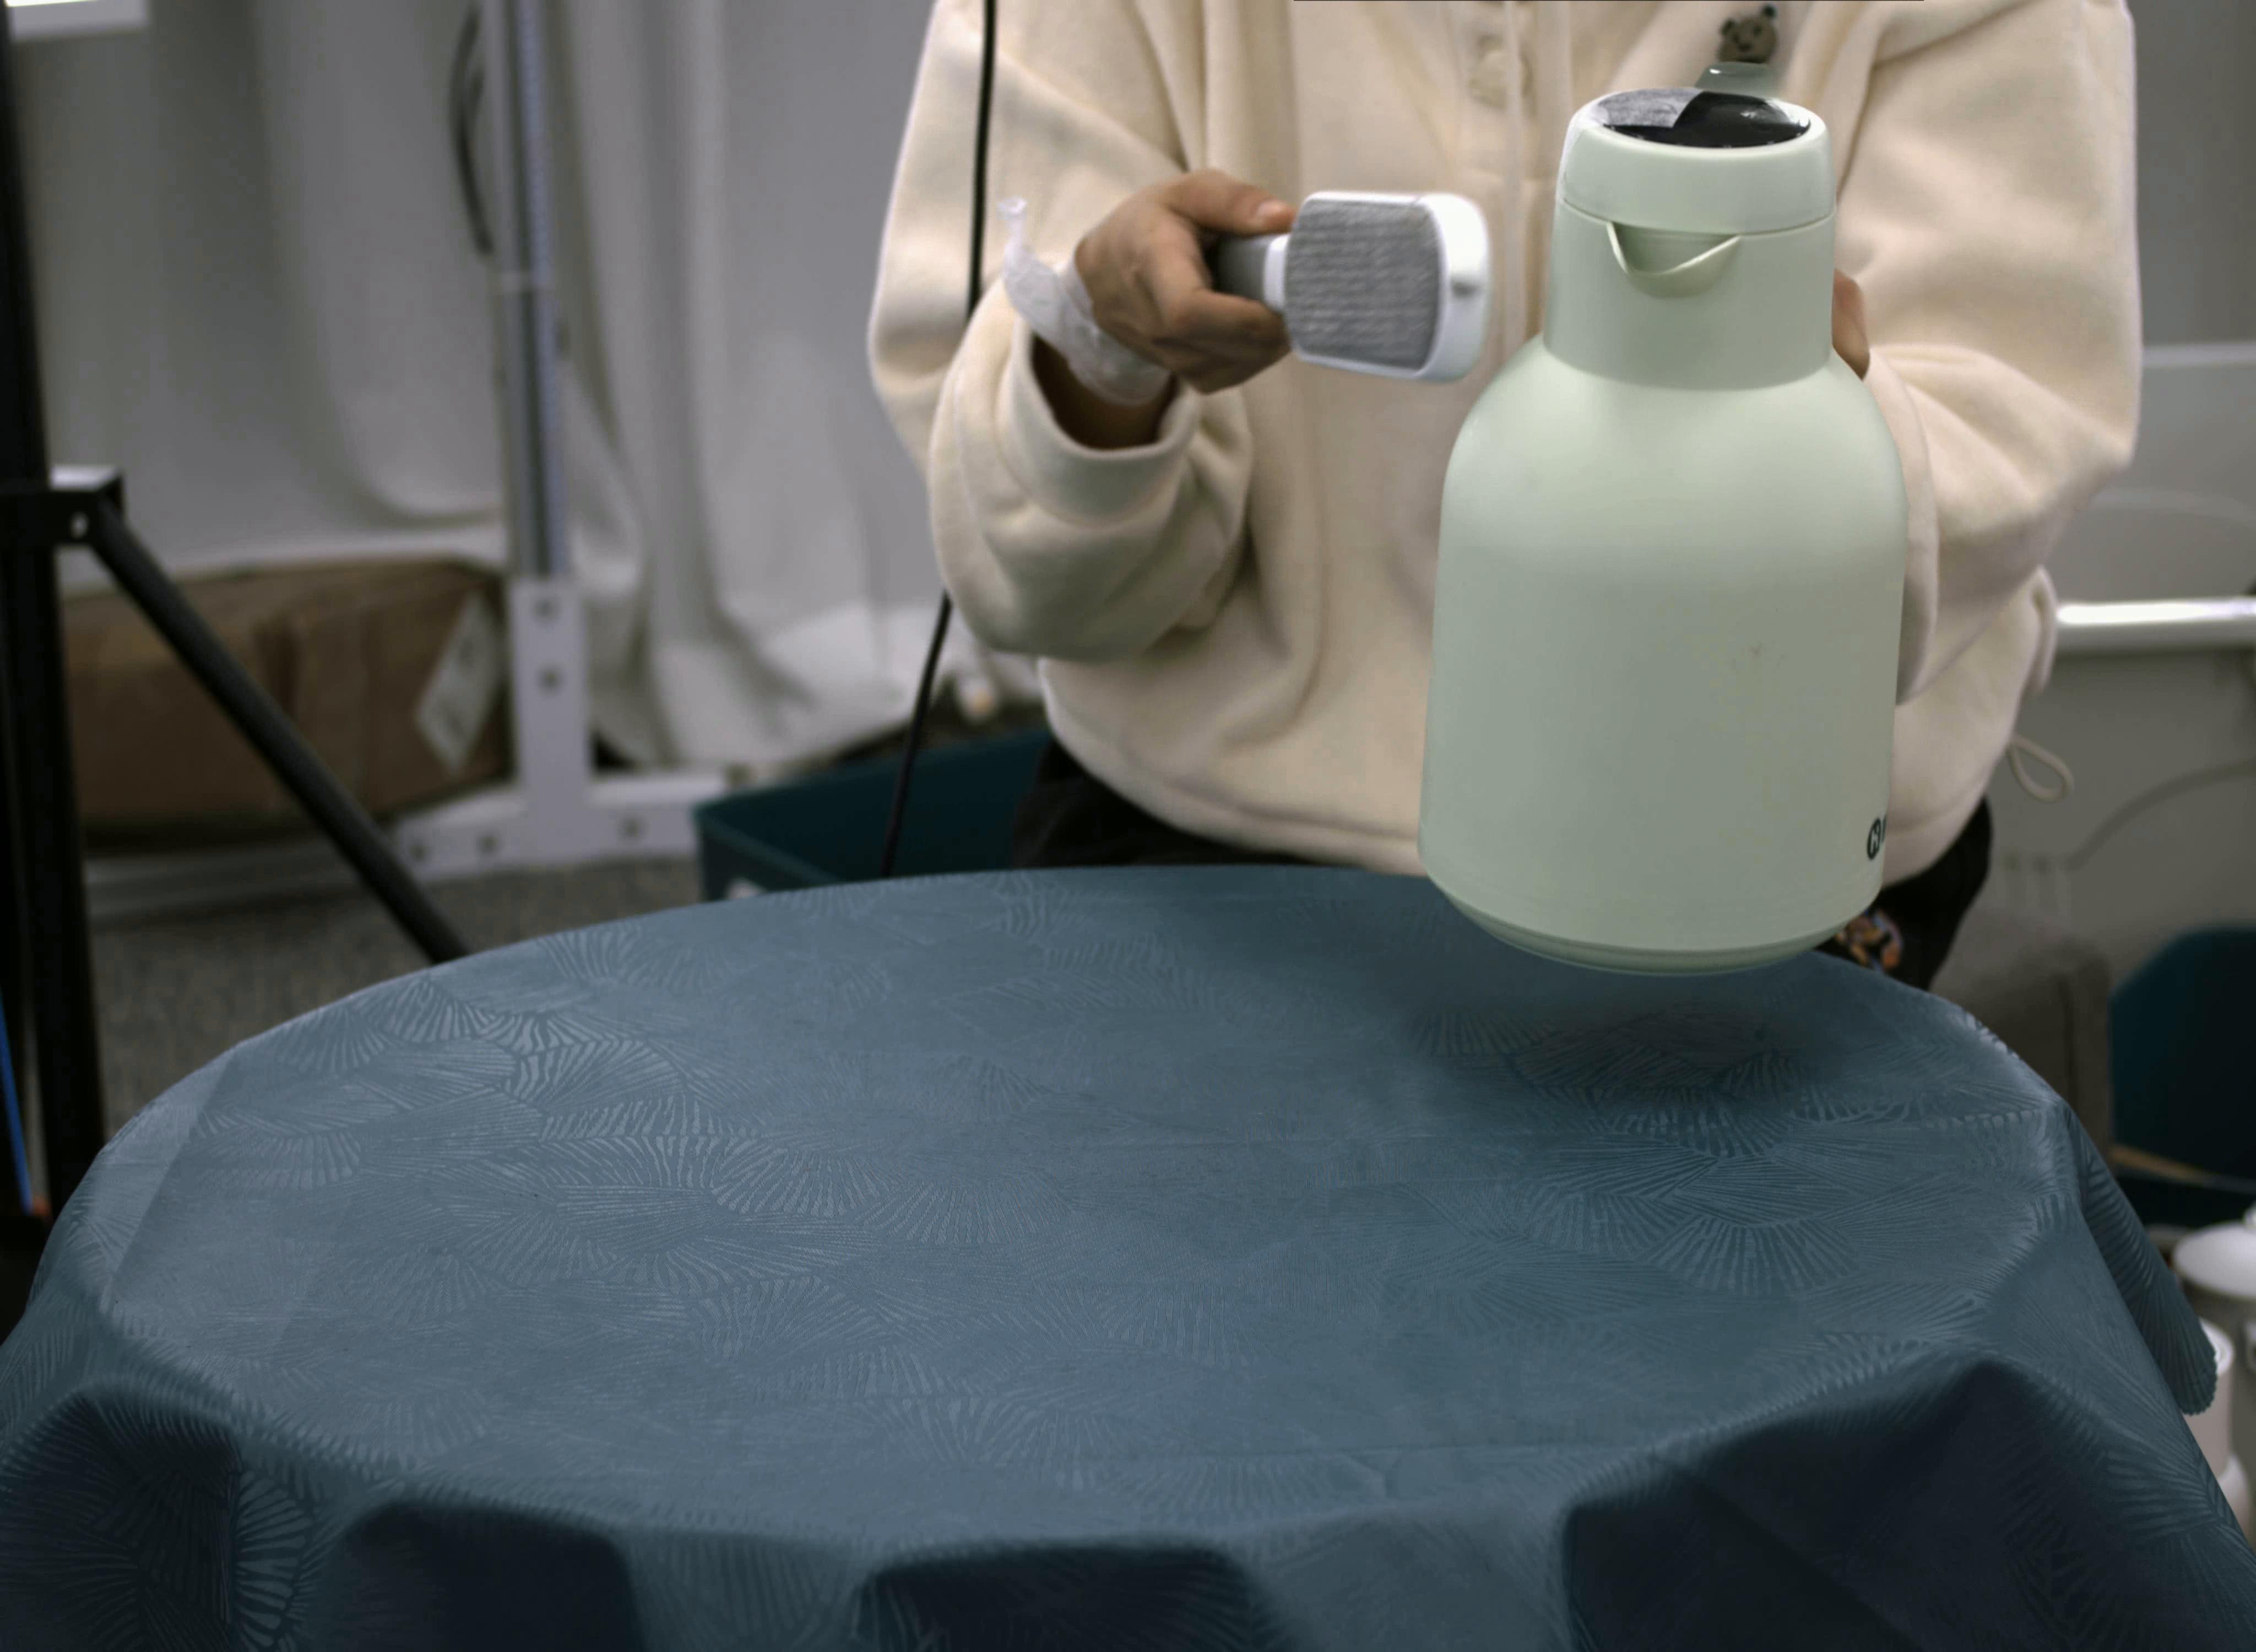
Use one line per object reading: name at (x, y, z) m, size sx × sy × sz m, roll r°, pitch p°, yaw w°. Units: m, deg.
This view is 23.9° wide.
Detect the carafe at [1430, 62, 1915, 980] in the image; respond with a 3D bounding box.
carafe at (0.171, -0.096, 1.619) m, size 0.145 × 0.257 × 0.185 m, roll 6°, pitch 18°, yaw 16°

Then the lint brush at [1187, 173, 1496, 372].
lint brush at (0.066, -0.182, 1.739) m, size 0.020 × 0.060 × 0.312 m, roll 0°, pitch 7°, yaw -14°
